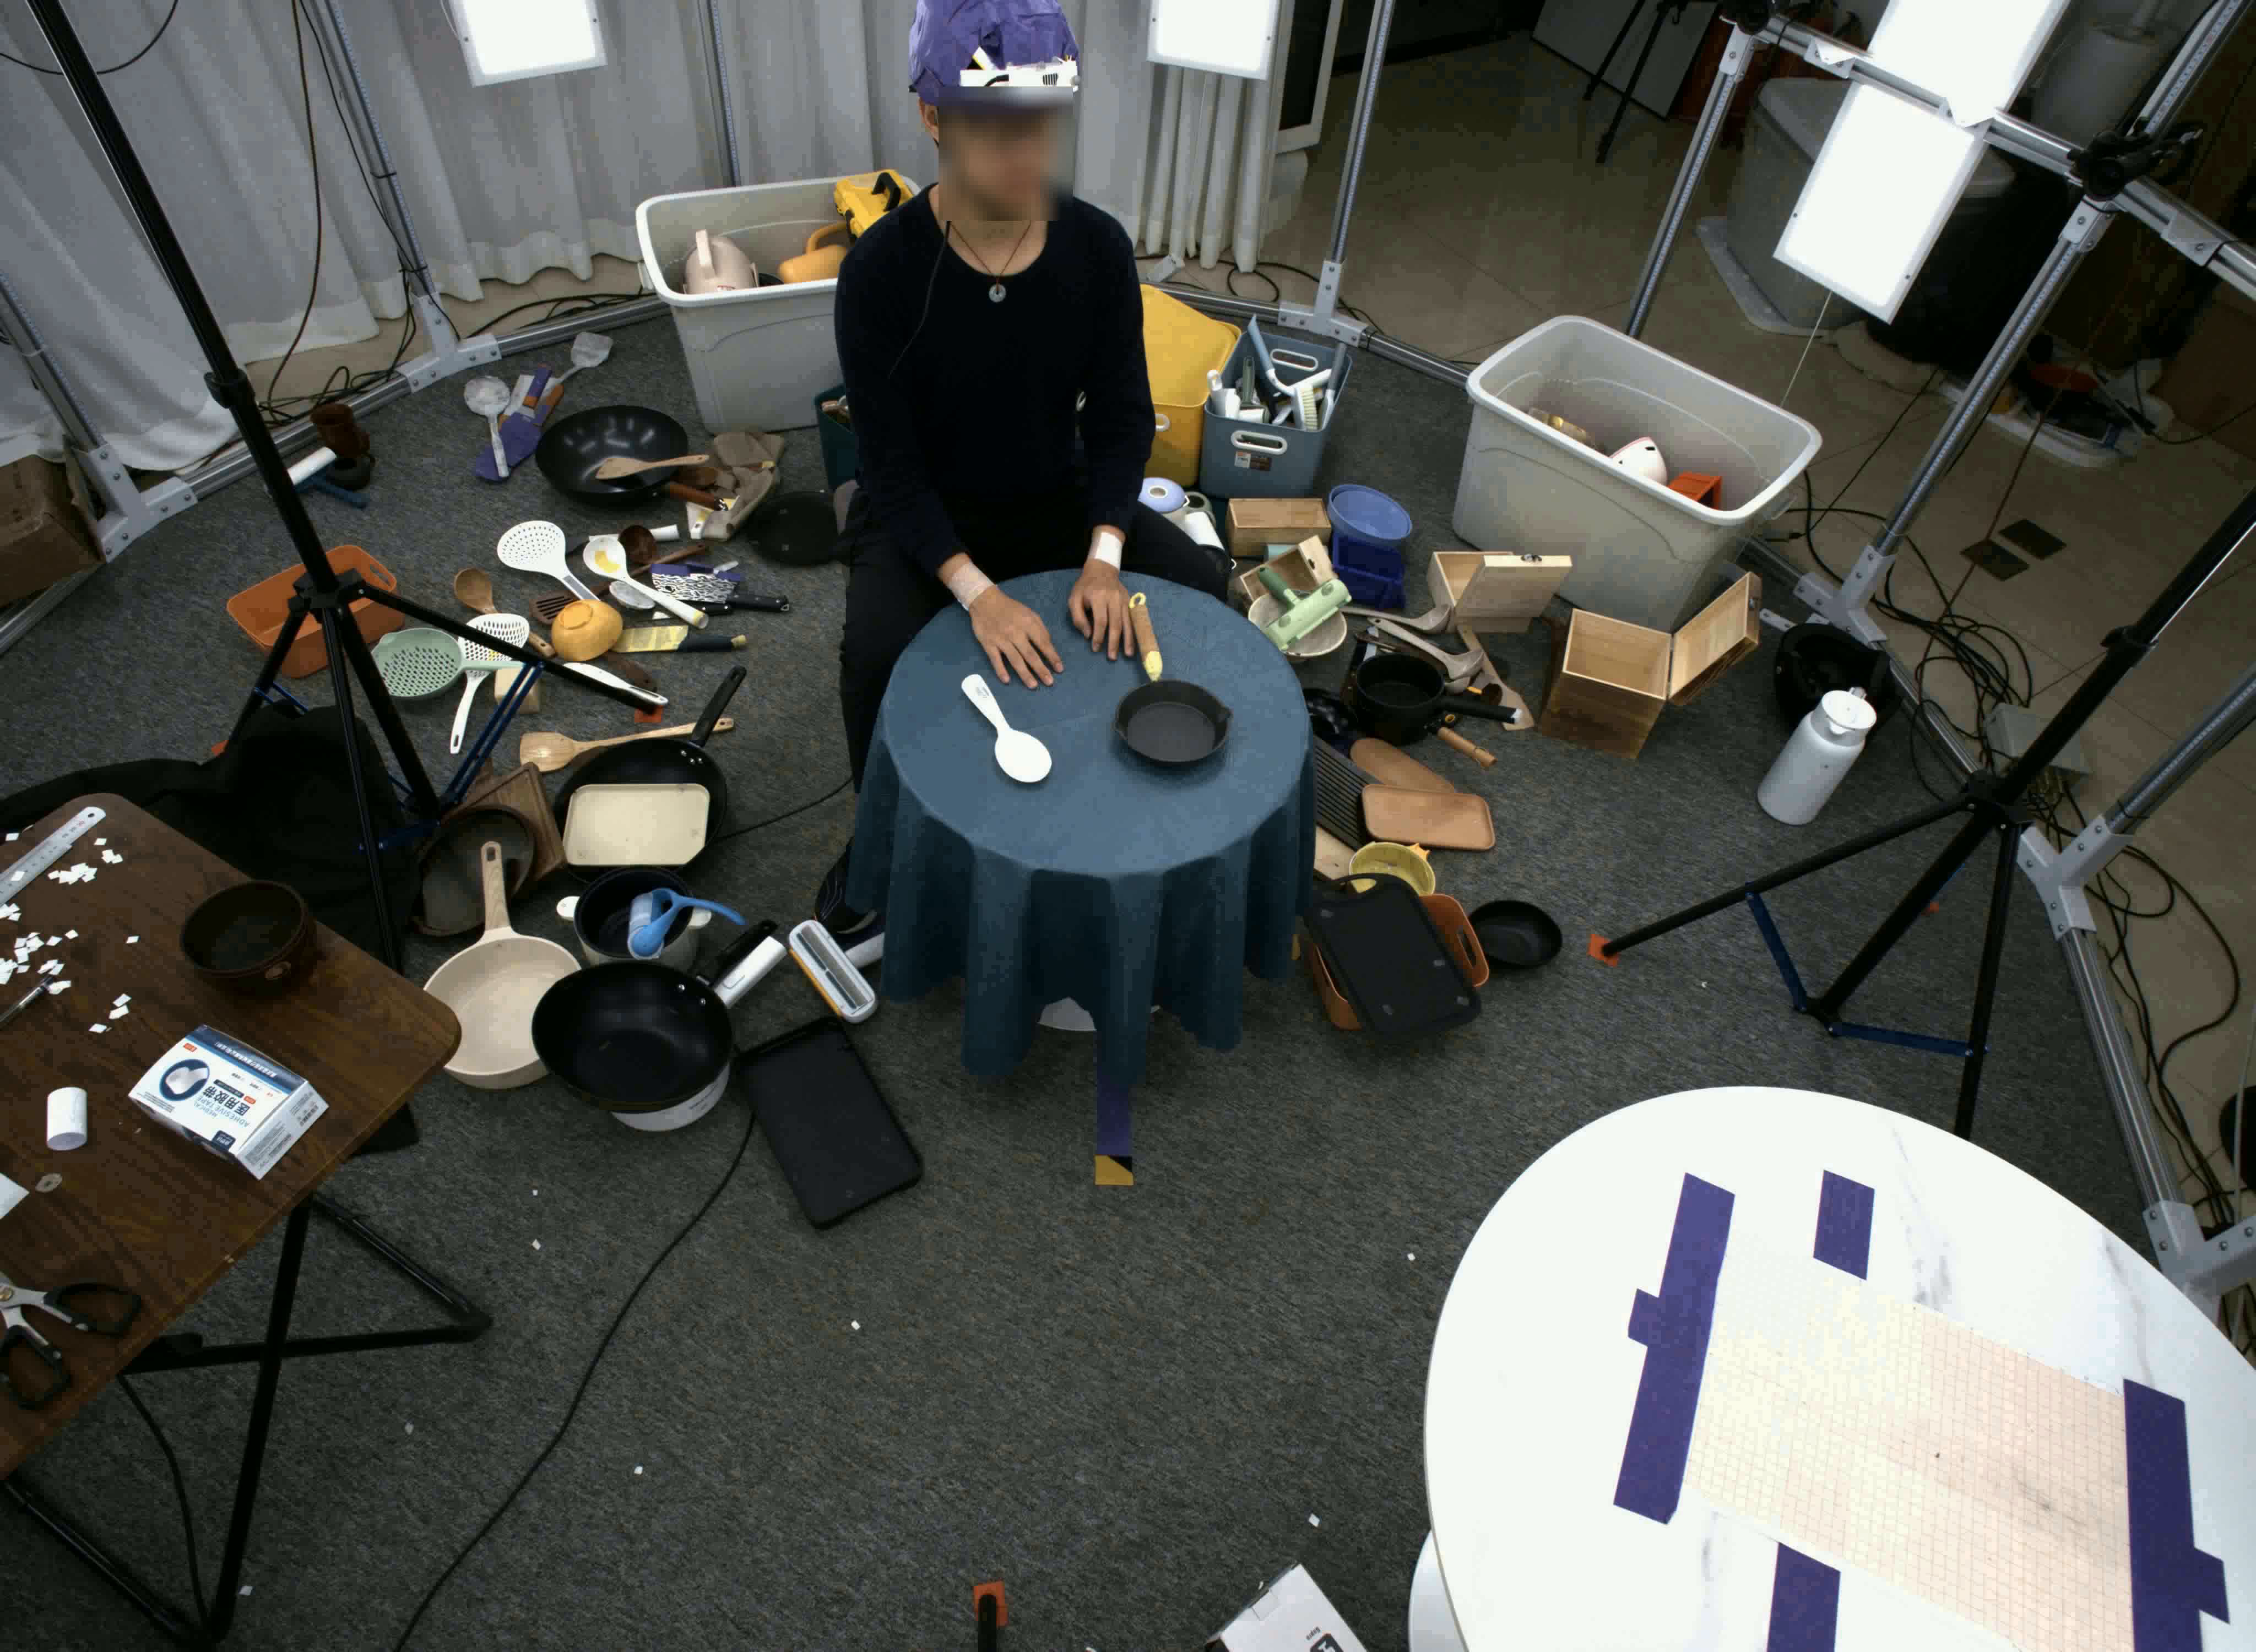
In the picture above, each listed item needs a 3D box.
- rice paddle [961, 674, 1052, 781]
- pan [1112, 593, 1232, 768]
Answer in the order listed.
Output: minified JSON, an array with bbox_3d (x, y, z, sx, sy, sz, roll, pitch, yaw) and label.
[{"bbox_3d":[-0.169,-0.134,1.755,0.069,0.029,0.209,-23,54,-20],"label":"rice paddle"},{"bbox_3d":[0.045,-0.207,1.819,0.169,0.048,0.332,-6,51,-9],"label":"pan"}]
